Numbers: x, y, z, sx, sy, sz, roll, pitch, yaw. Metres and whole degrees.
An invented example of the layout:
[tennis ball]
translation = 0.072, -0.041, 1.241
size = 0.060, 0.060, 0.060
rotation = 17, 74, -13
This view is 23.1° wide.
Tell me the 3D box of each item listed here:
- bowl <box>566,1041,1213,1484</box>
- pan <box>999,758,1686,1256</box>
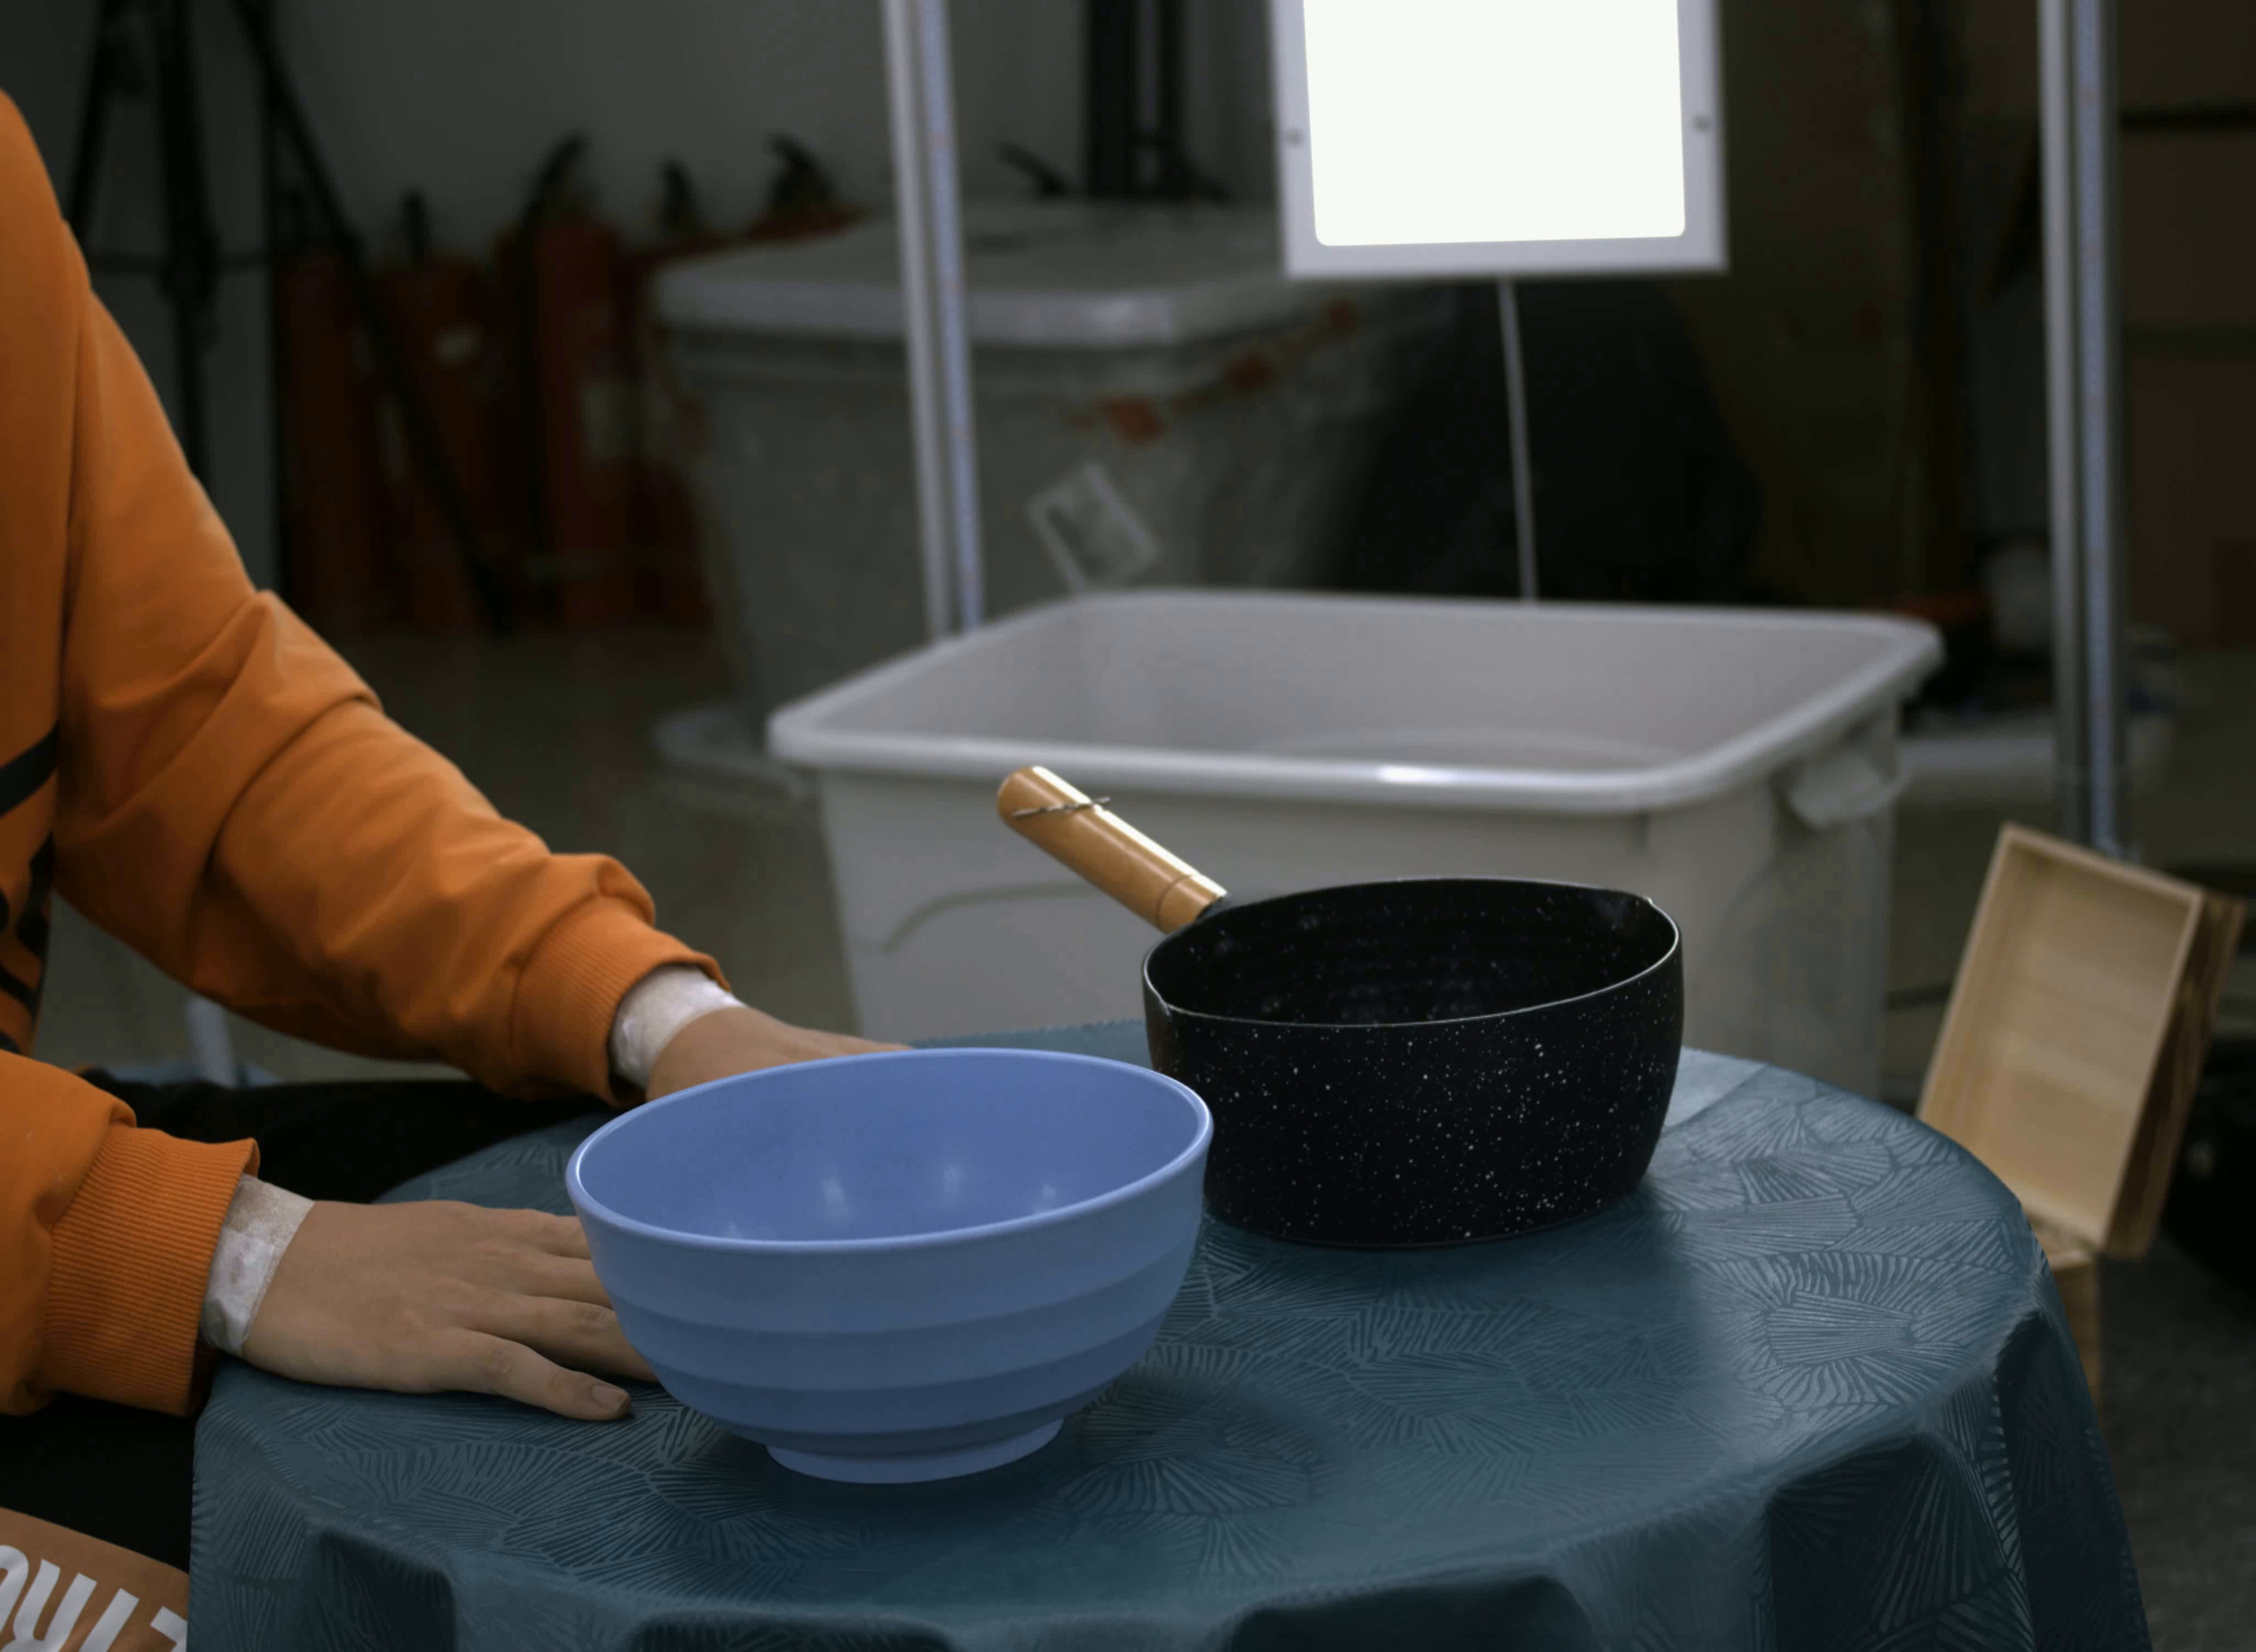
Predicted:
[bowl]
translation = -0.068, 0.139, 1.672
size = 0.196, 0.096, 0.196
rotation = -5, 15, 0
[pan]
translation = 0.054, 0.057, 1.932
size = 0.202, 0.108, 0.349
rotation = -15, 18, -31
